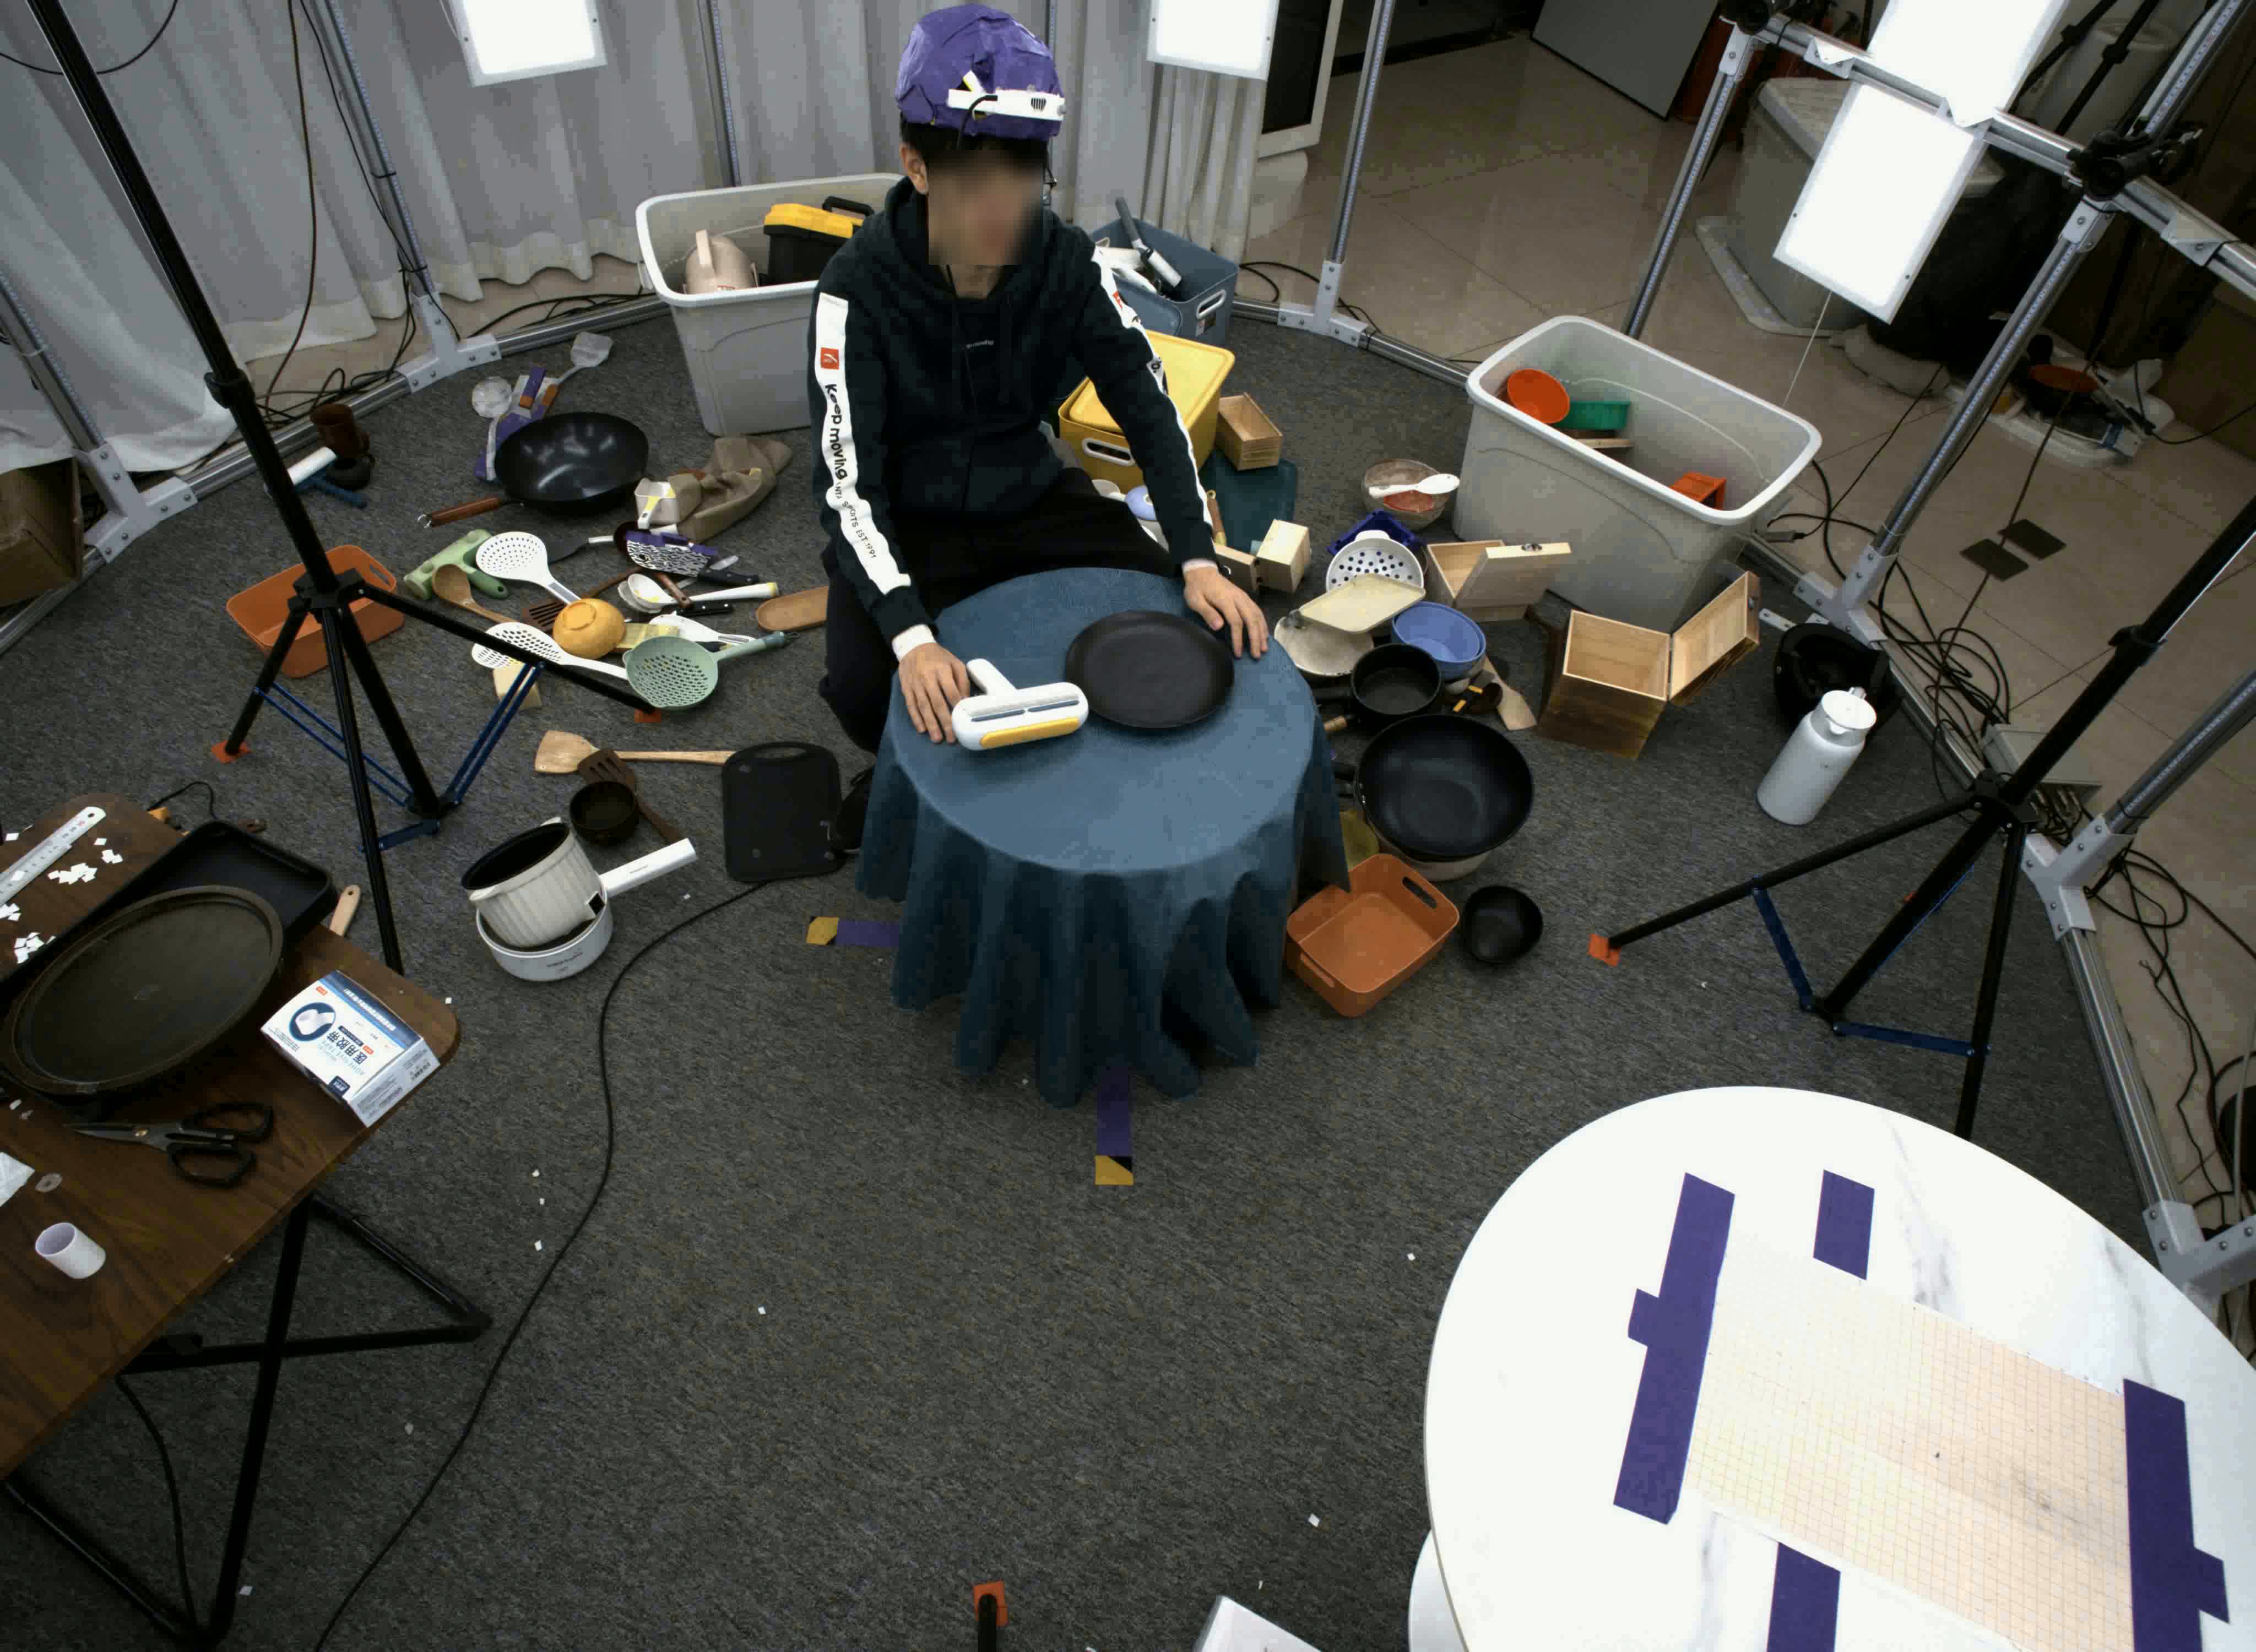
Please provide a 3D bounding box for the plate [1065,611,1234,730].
[{"bbox_3d":[0.031,-0.222,1.848,0.244,0.023,0.250,2,49,-2],"label":"plate"}]

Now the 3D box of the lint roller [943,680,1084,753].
[{"bbox_3d":[-0.175,-0.168,1.783,0.193,0.072,0.197,-10,36,-20],"label":"lint roller"}]
